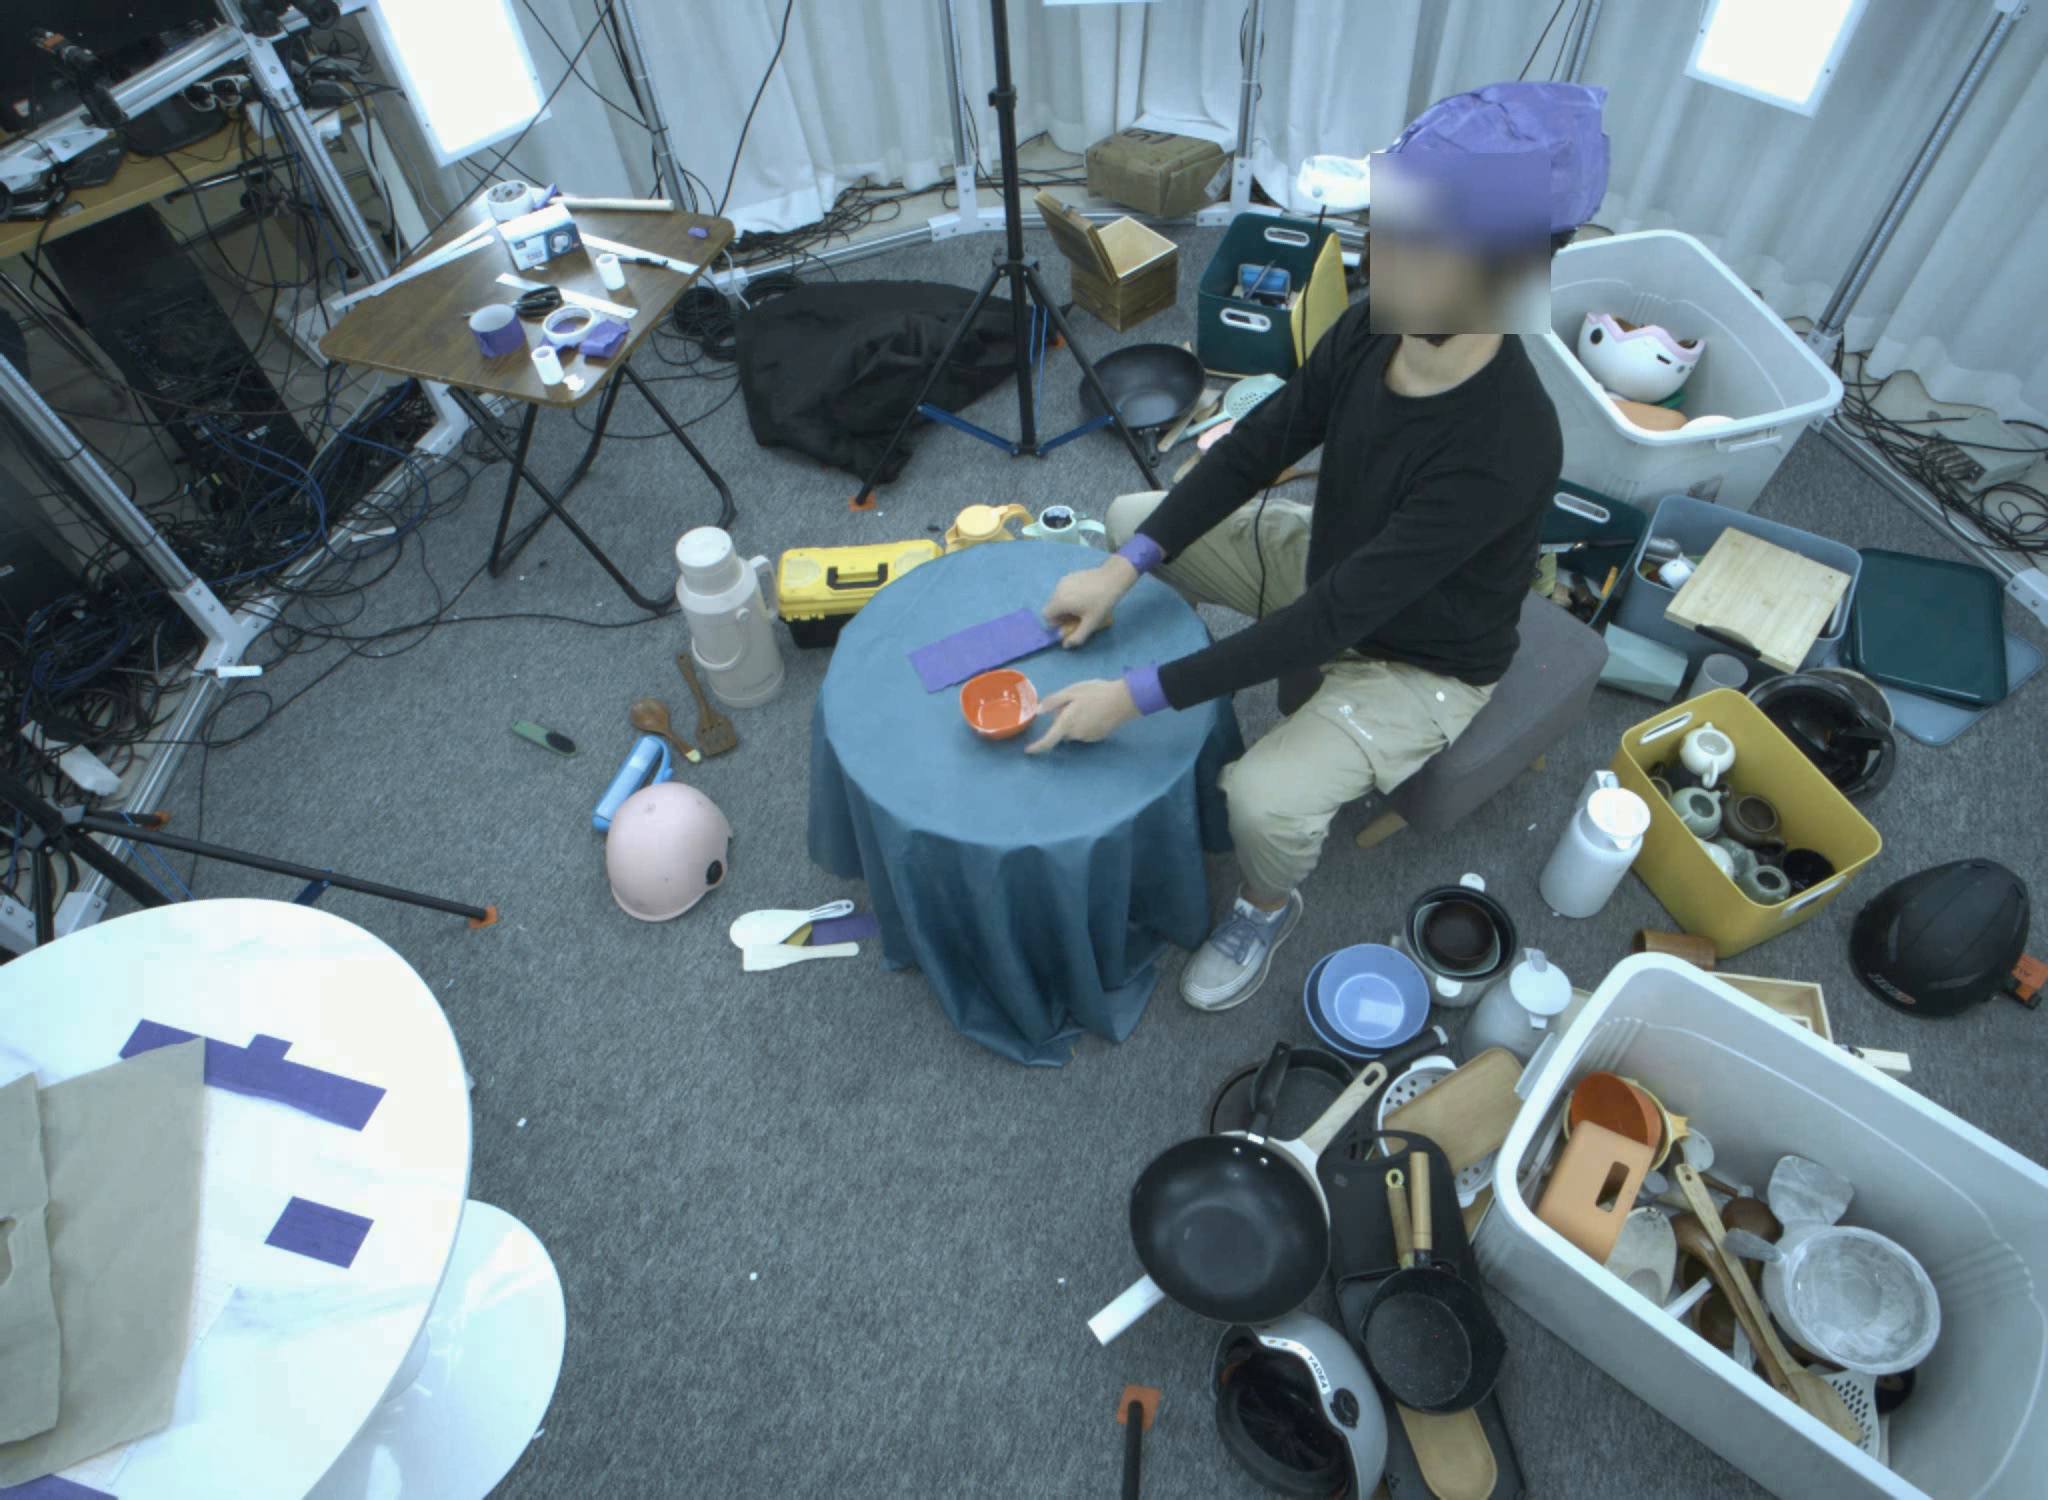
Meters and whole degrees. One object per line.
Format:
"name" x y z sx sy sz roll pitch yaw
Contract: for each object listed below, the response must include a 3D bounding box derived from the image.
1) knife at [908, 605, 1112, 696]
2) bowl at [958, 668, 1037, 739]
"knife" -0.024 -0.176 1.894 0.317 0.032 0.102 -22 57 -12
"bowl" -0.036 -0.060 1.792 0.118 0.052 0.117 -3 54 5
